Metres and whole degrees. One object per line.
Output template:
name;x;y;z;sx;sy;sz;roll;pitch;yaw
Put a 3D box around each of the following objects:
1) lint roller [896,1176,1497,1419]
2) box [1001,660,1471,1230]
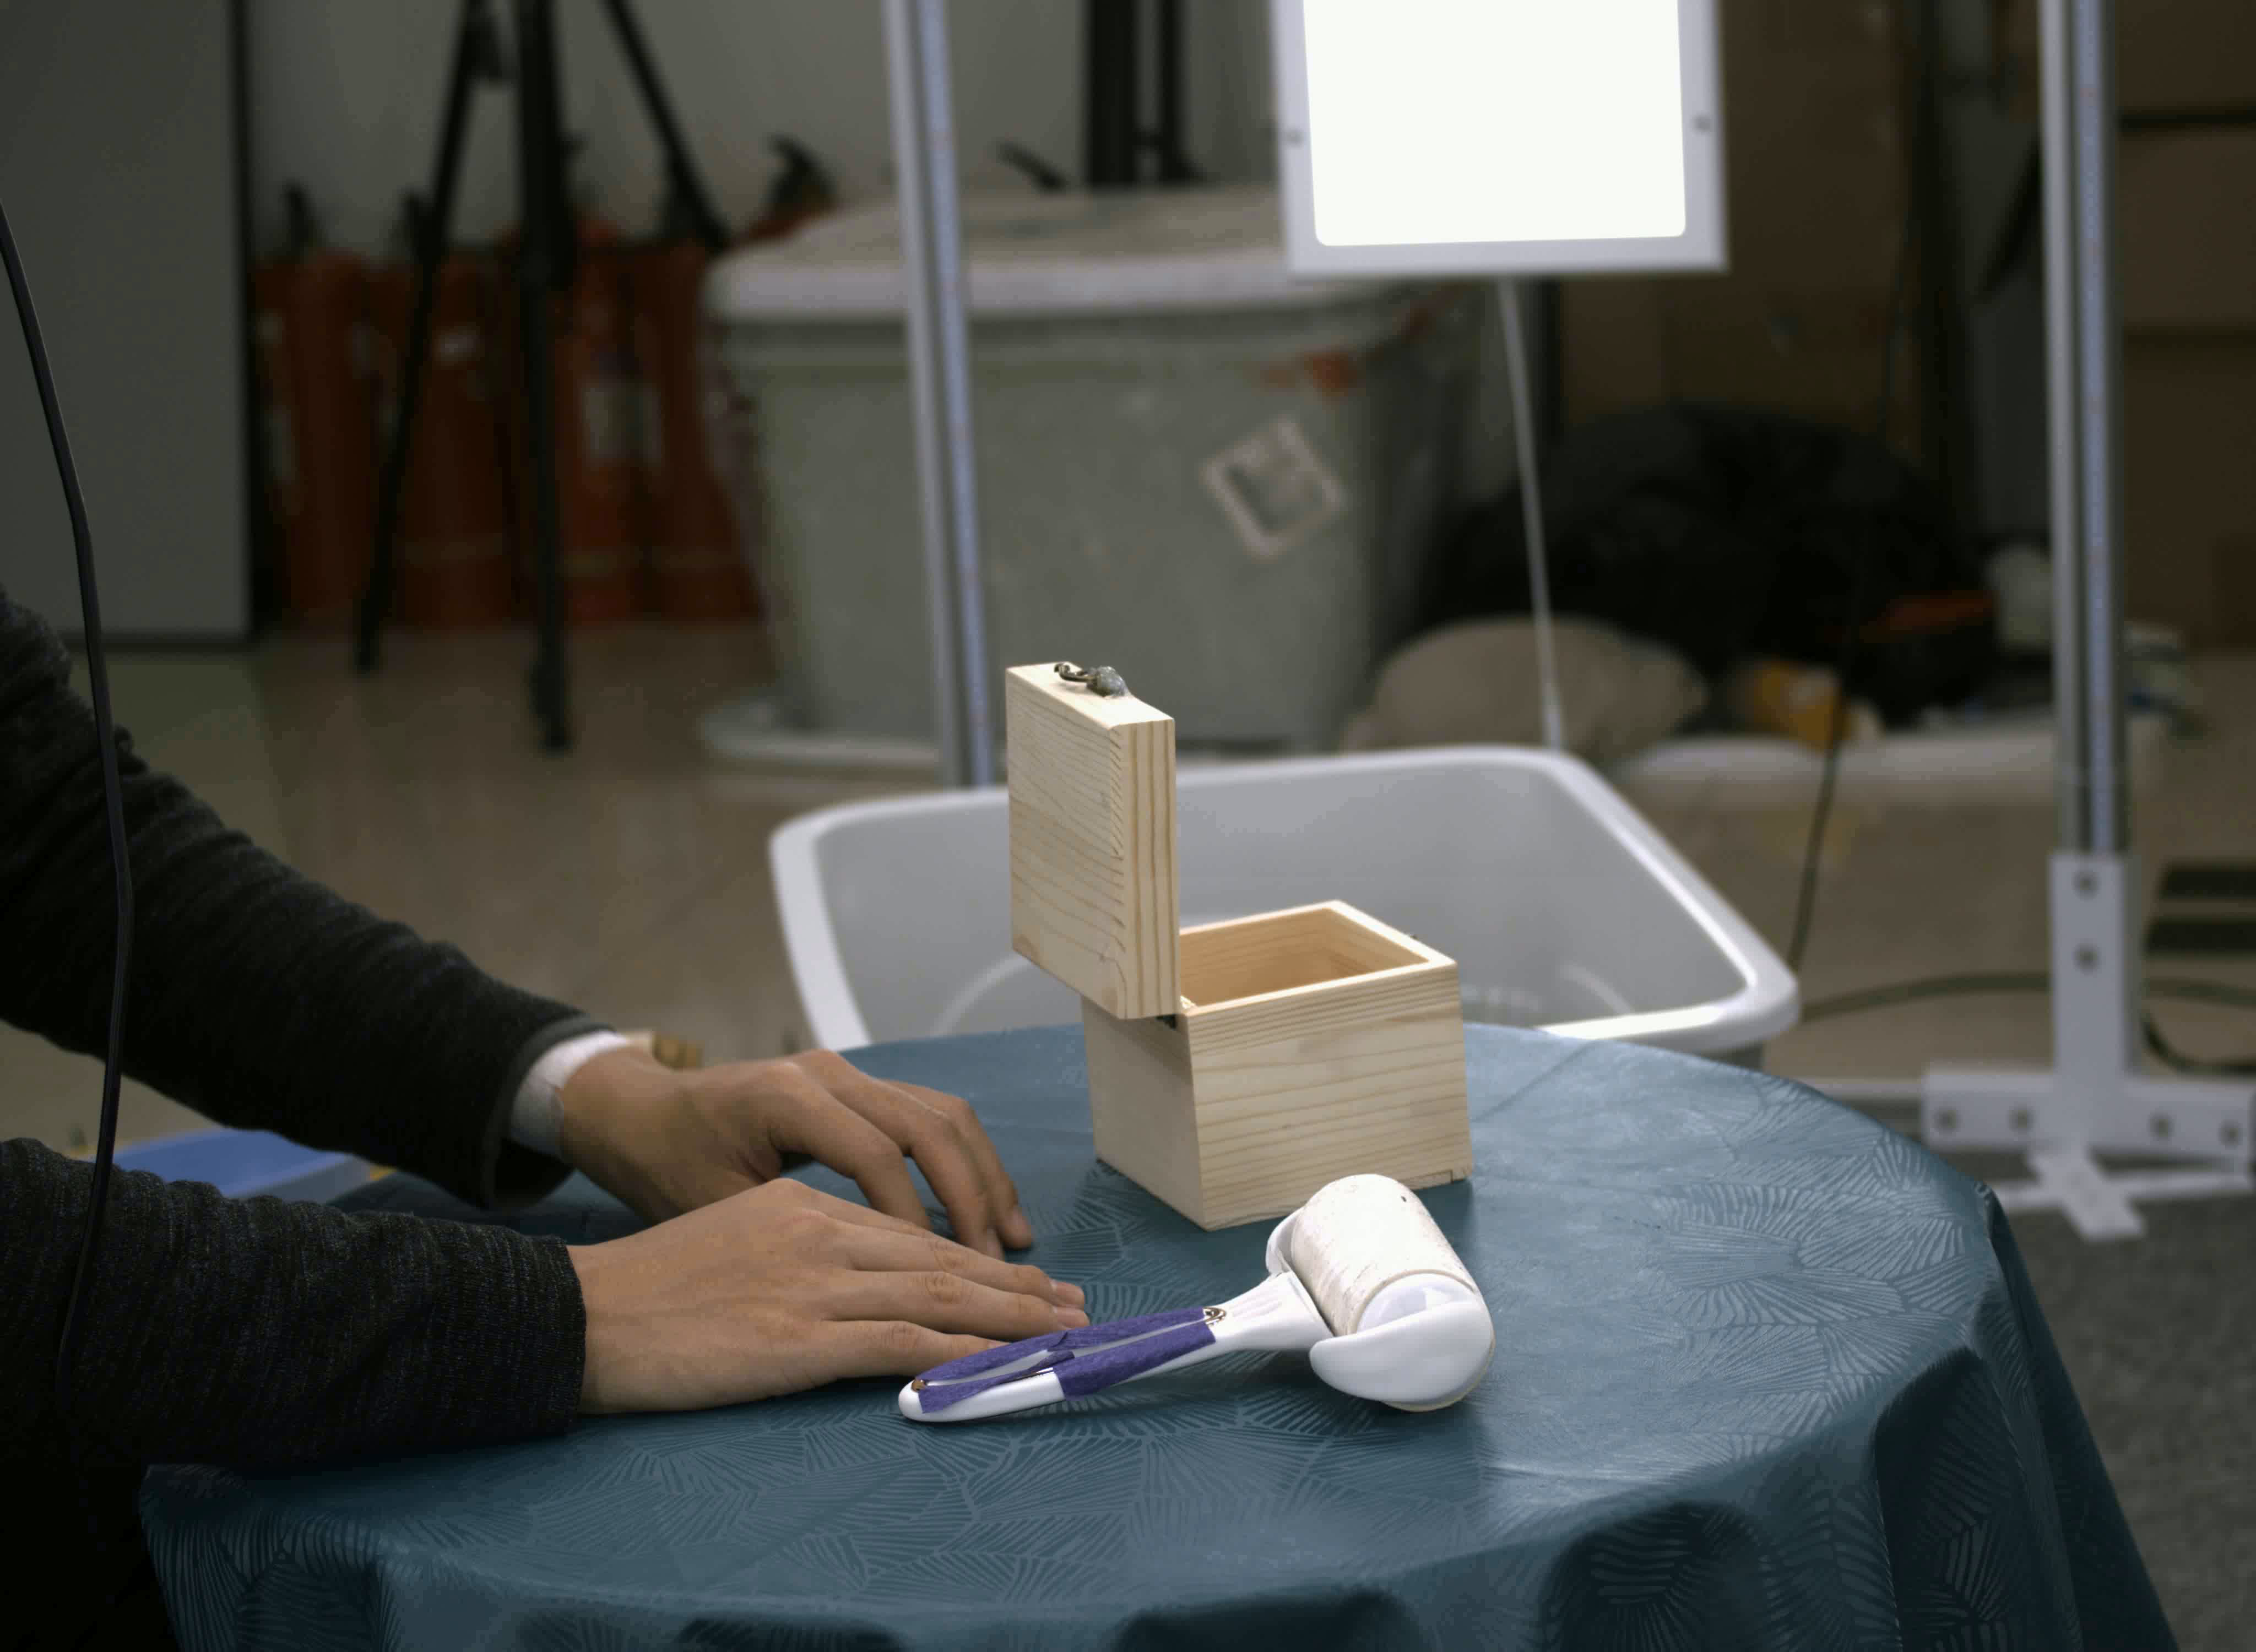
lint roller;0.017;0.150;1.698;0.180;0.050;0.133;-4;15;-4
box;0.038;0.032;1.884;0.131;0.185;0.104;-10;15;-18
